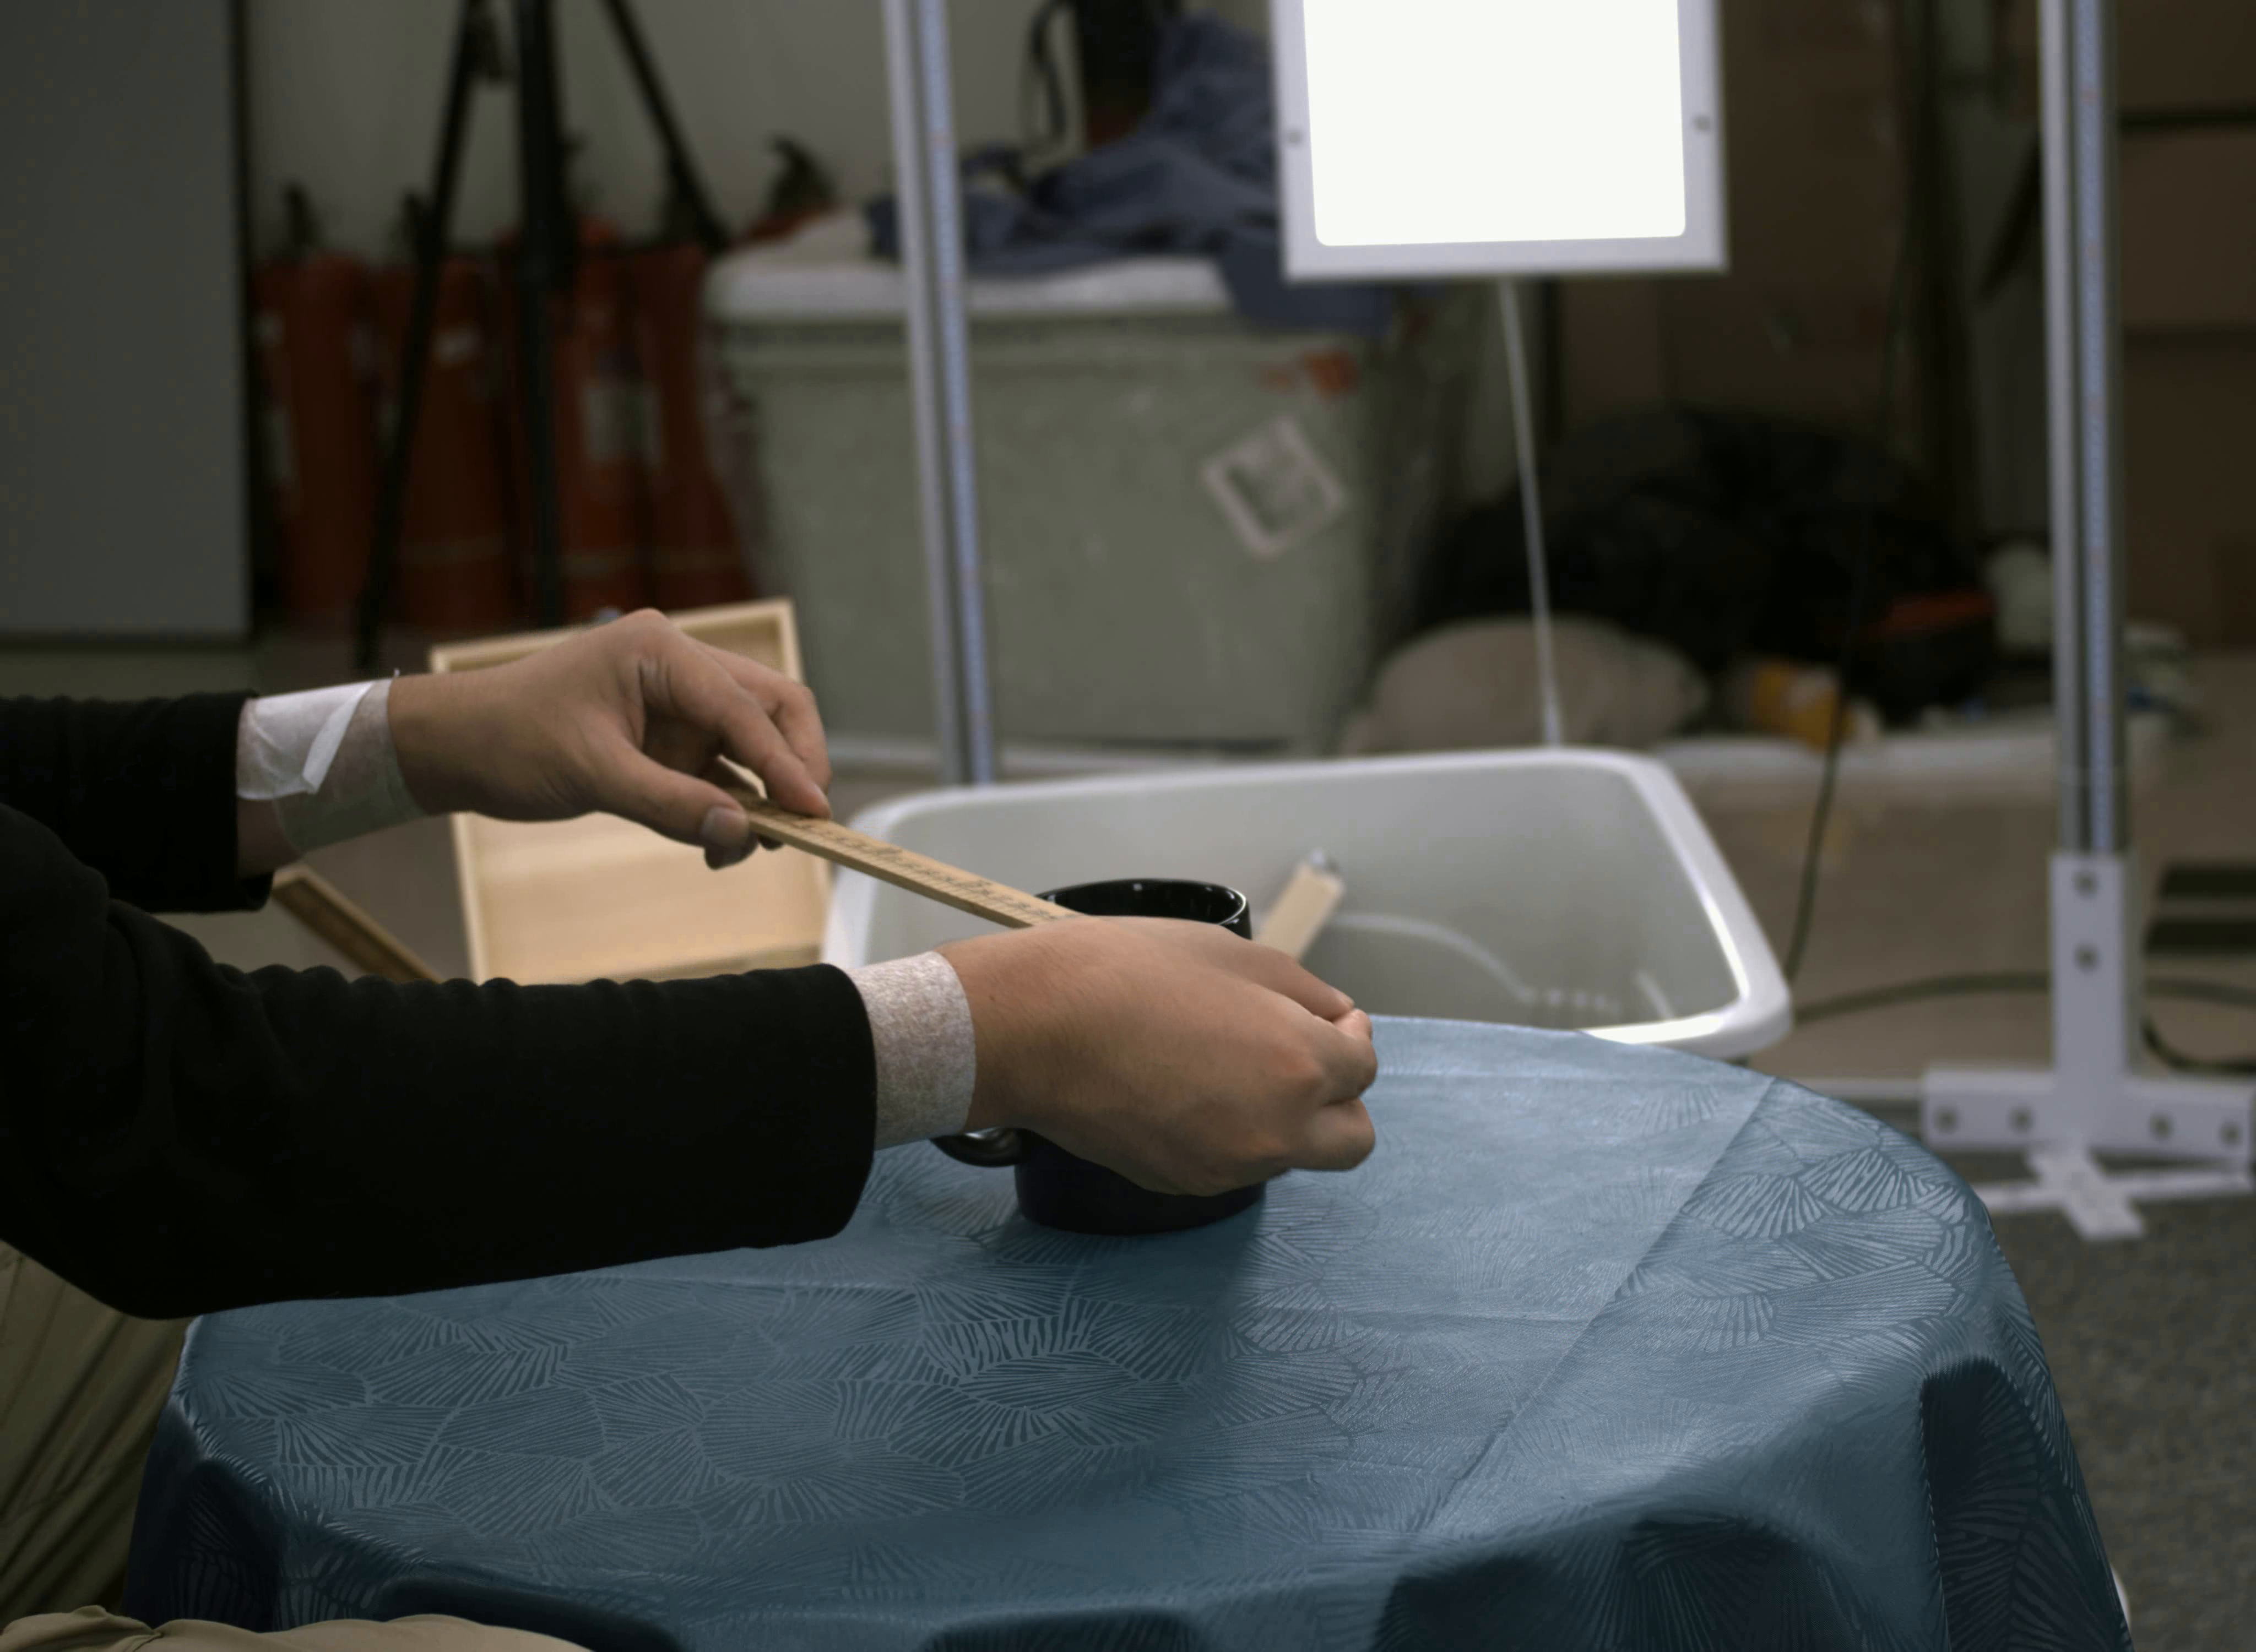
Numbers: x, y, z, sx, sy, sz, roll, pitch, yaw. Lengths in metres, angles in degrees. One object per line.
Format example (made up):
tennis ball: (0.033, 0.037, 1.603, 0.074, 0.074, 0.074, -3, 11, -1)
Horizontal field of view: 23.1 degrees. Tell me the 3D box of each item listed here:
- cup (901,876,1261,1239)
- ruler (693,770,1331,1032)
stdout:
cup: (-0.016, 0.080, 1.876, 0.122, 0.106, 0.089, -7, 16, -10)
ruler: (-0.046, 0.021, 1.842, 0.027, 0.022, 0.338, -1, 13, -37)
